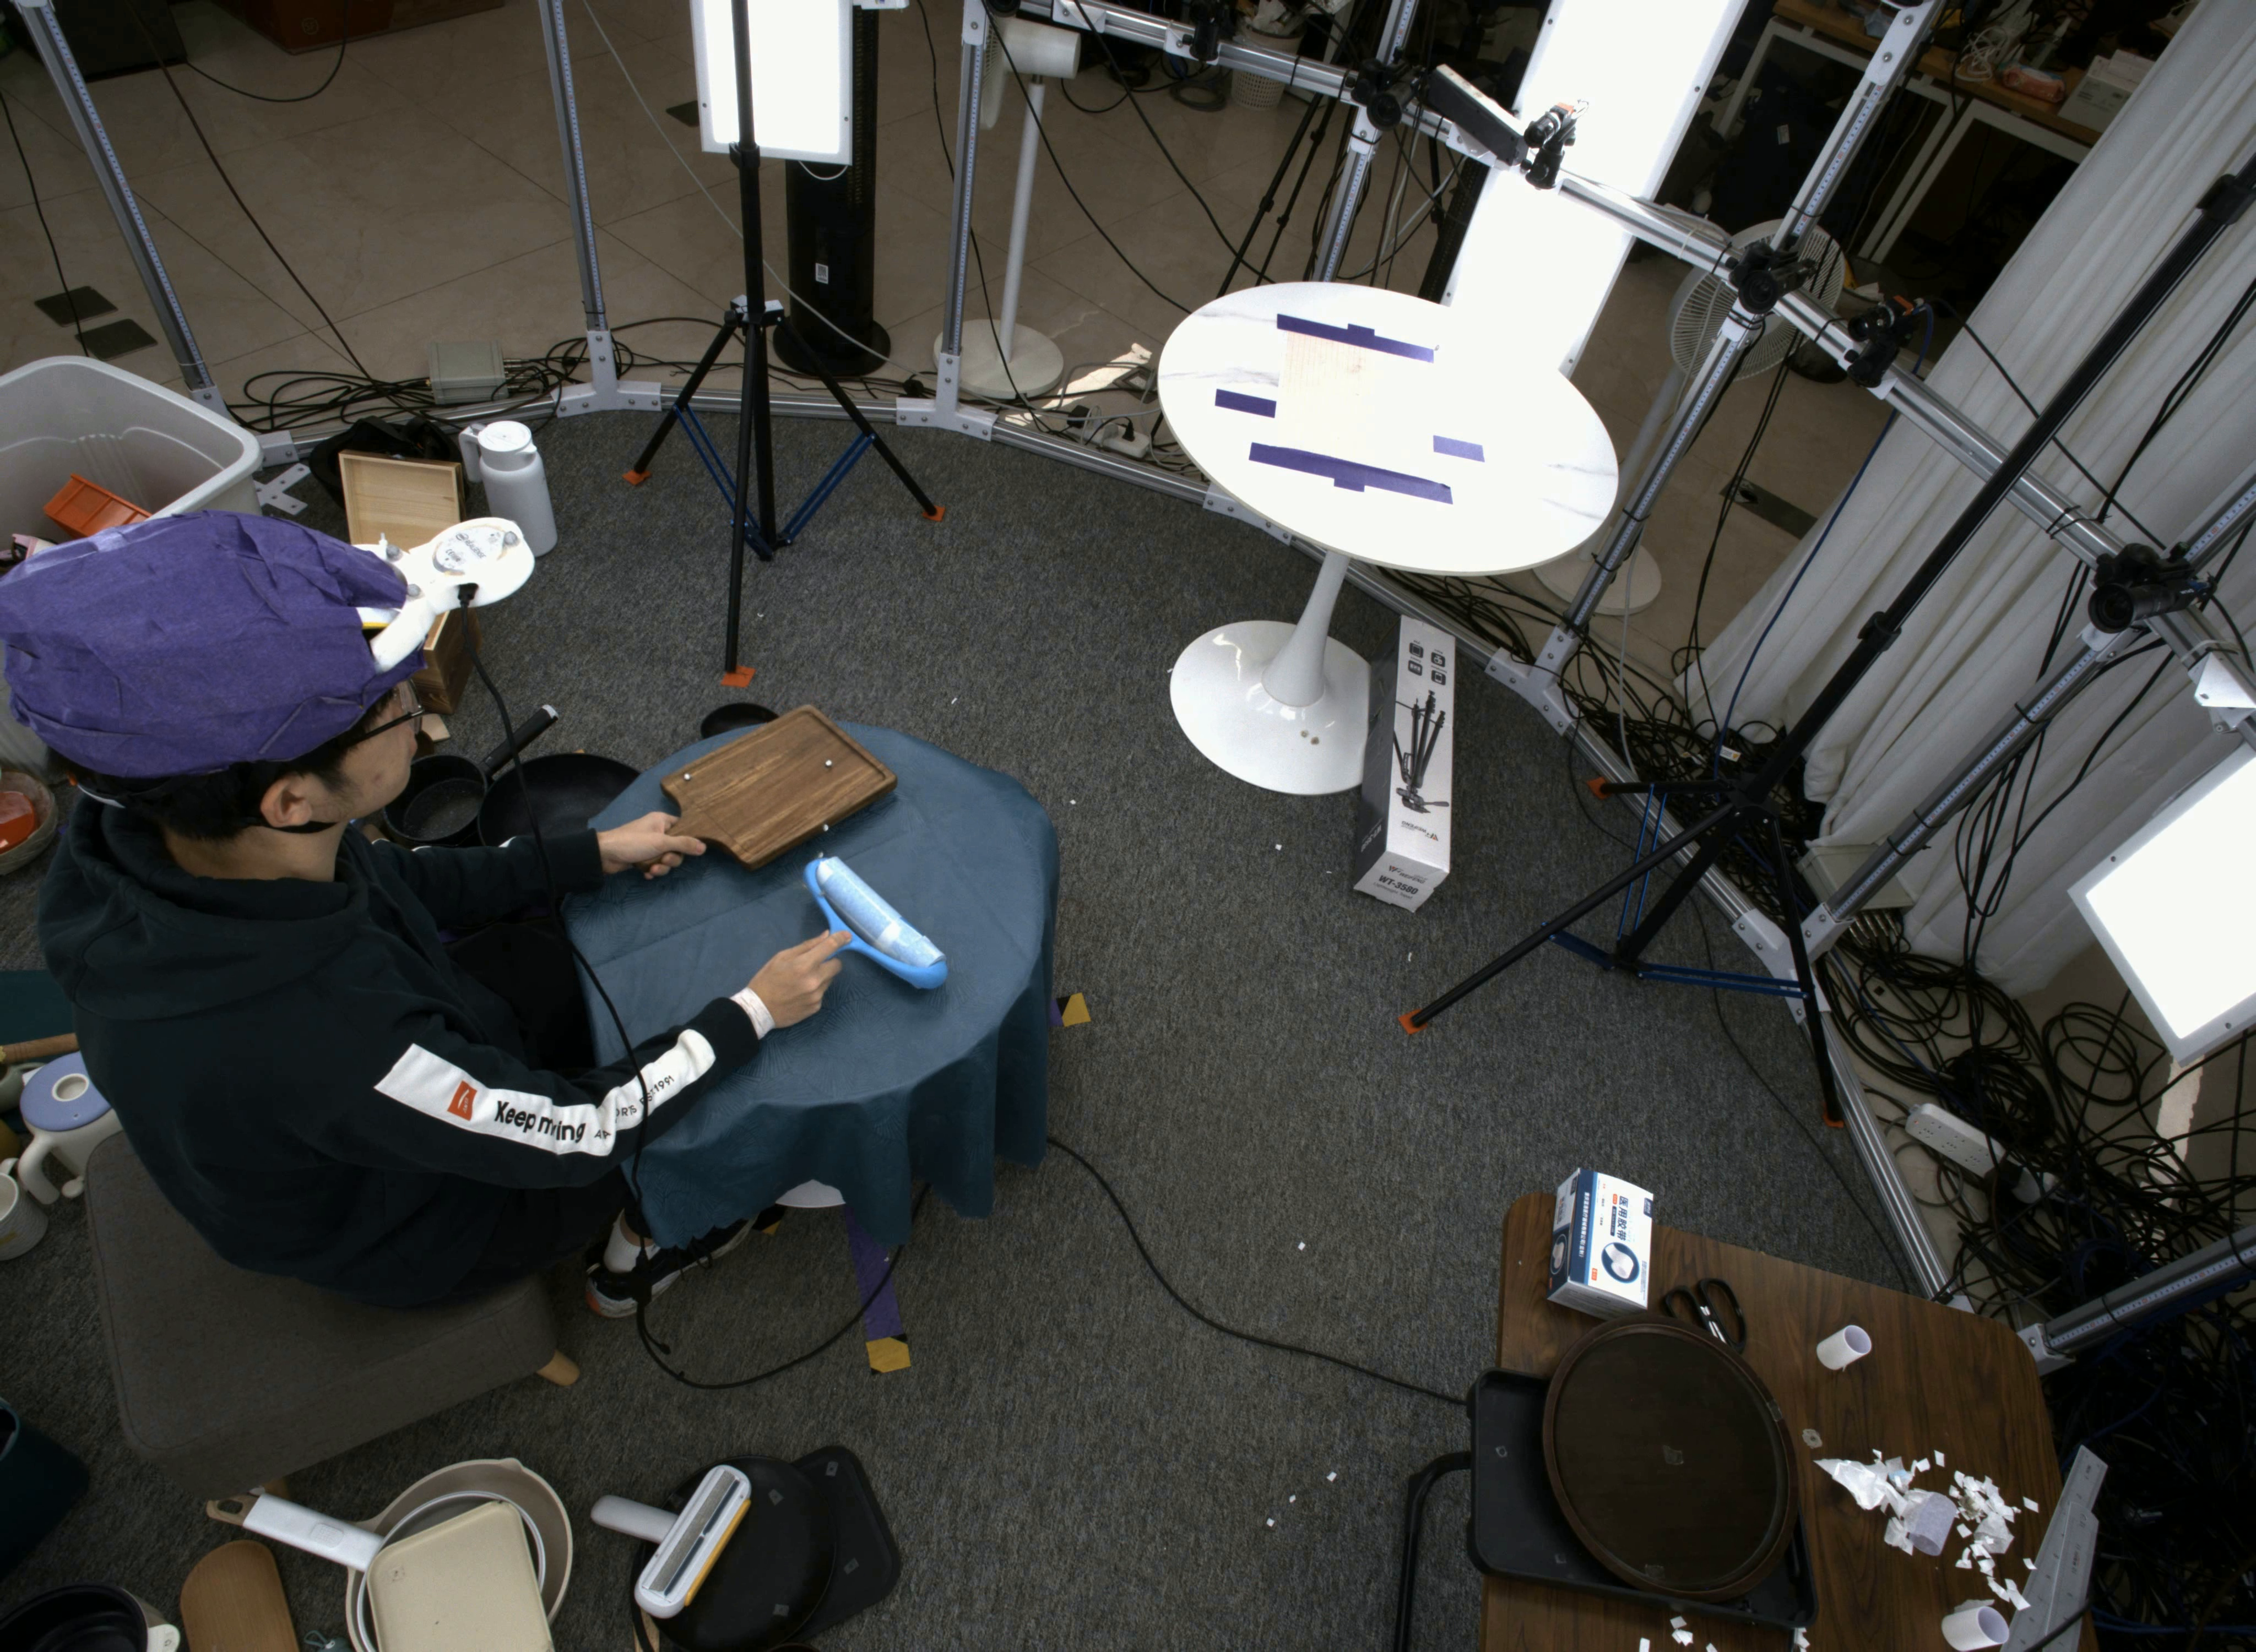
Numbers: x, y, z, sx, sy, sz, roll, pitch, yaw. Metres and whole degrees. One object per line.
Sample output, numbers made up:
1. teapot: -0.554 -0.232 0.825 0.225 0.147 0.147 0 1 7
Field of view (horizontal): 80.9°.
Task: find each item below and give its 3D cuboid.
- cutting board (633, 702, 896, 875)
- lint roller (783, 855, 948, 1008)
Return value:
1. cutting board: -0.497 -0.037 1.697 0.195 0.024 0.353 37 51 21
2. lint roller: -0.347 0.147 1.584 0.226 0.069 0.180 39 54 8
